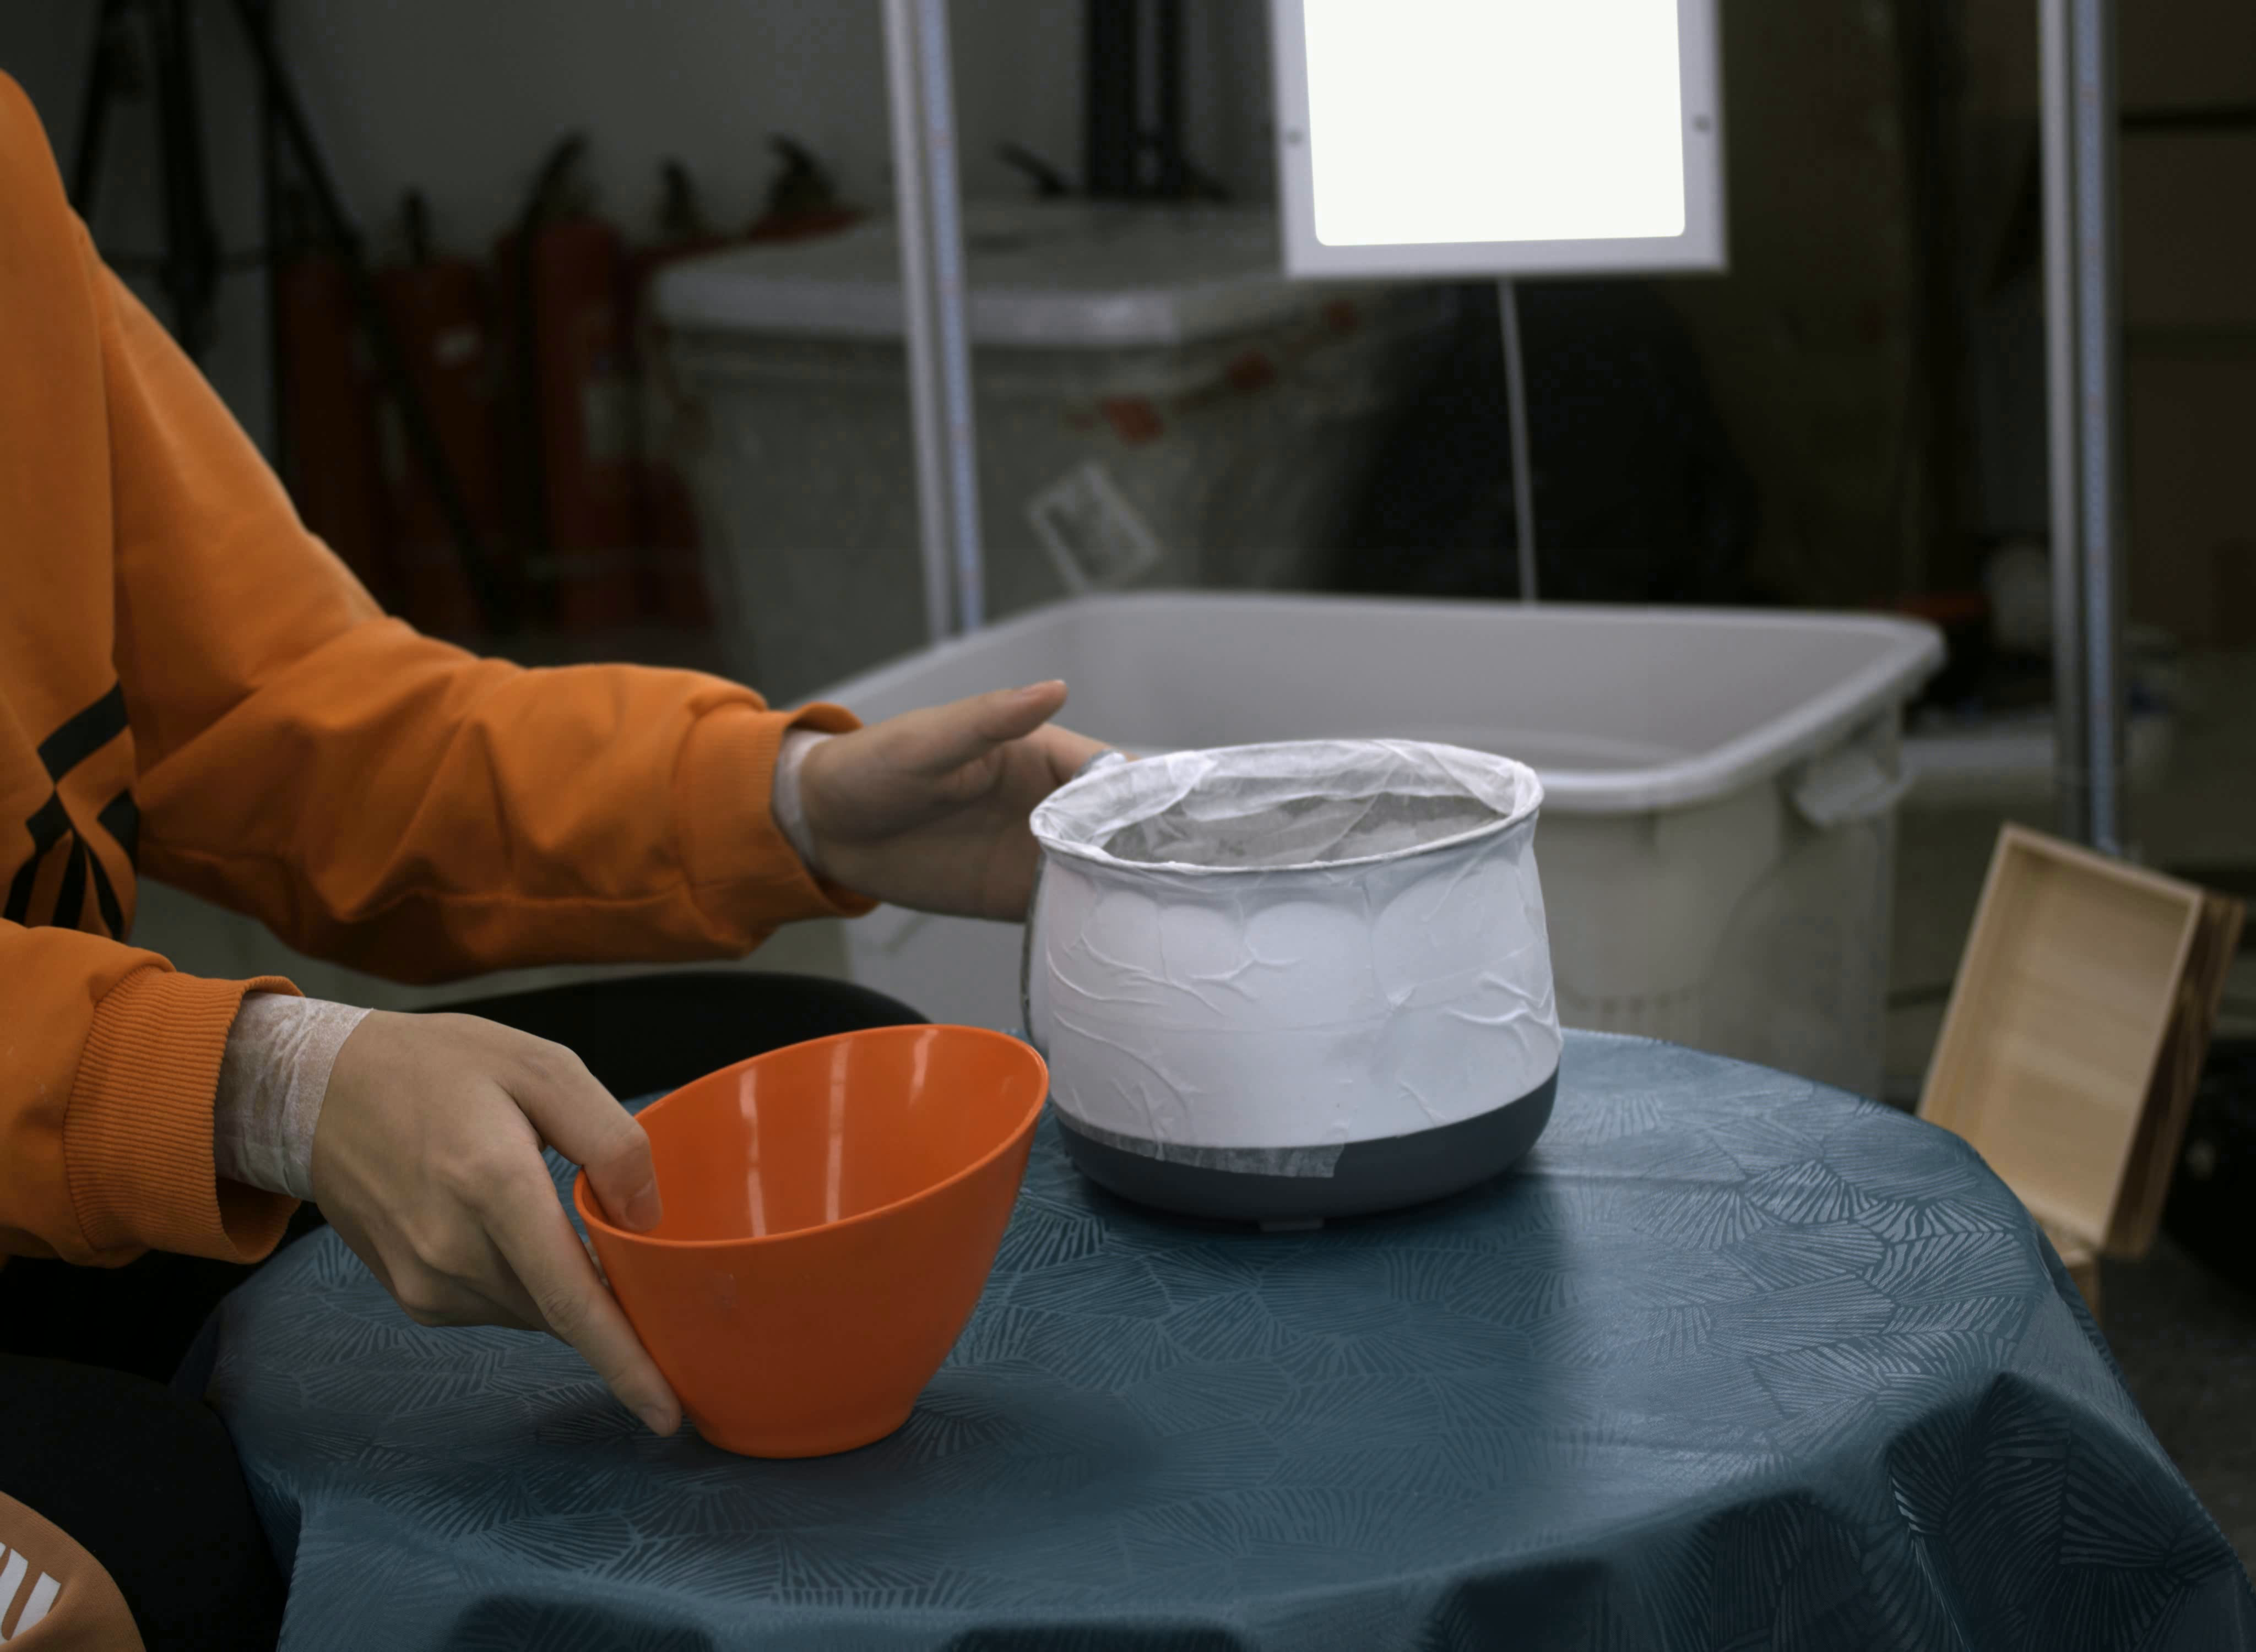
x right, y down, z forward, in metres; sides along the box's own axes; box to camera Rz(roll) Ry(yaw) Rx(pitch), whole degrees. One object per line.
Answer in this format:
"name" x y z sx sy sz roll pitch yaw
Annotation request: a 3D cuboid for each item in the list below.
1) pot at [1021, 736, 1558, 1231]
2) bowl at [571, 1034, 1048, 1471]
"pot" 0.041 0.048 1.911 0.174 0.137 0.238 -14 17 -36
"bowl" -0.094 0.134 1.687 0.147 0.105 0.148 -5 18 0
